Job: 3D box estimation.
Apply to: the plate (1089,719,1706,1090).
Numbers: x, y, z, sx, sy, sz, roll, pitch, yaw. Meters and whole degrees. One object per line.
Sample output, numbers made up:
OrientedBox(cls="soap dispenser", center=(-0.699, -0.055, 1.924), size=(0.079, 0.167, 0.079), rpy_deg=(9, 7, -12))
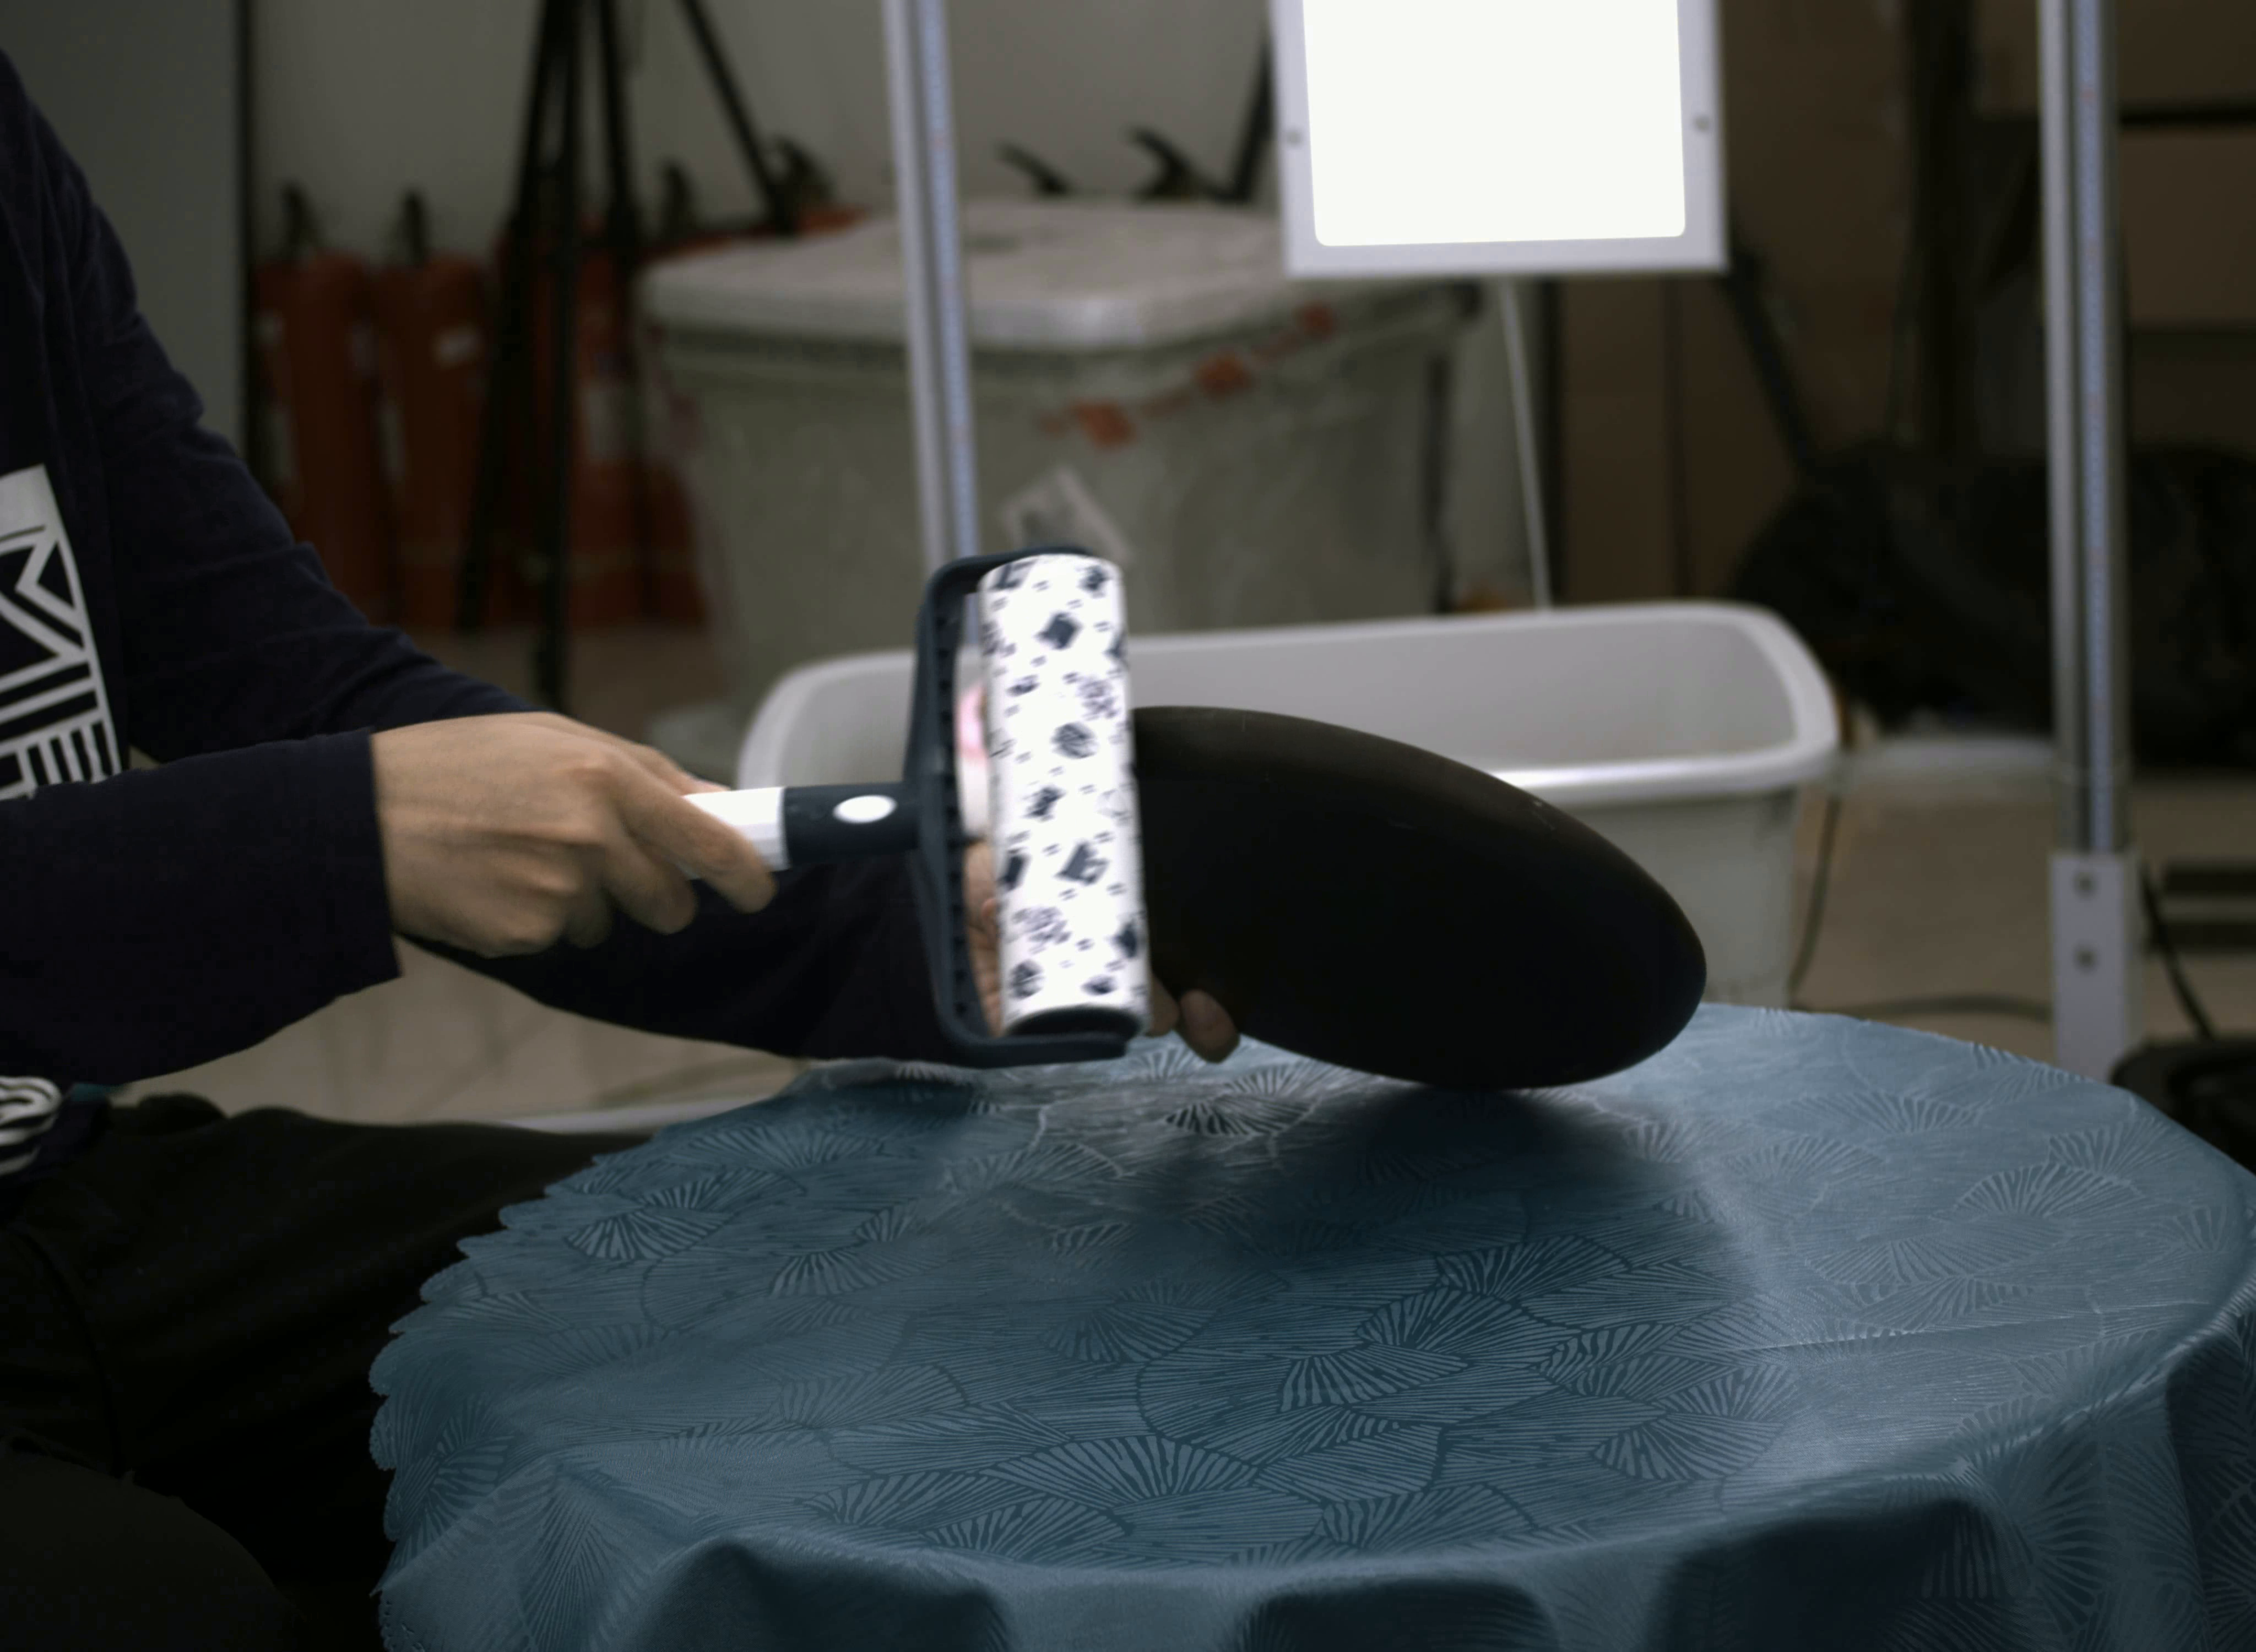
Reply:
OrientedBox(cls="plate", center=(0.075, 0.031, 1.905), size=(0.255, 0.029, 0.256), rpy_deg=(15, -25, 6))

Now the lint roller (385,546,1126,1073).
OrientedBox(cls="lint roller", center=(-0.126, 0.004, 1.825), size=(0.247, 0.176, 0.050), rpy_deg=(-6, -20, 6))
